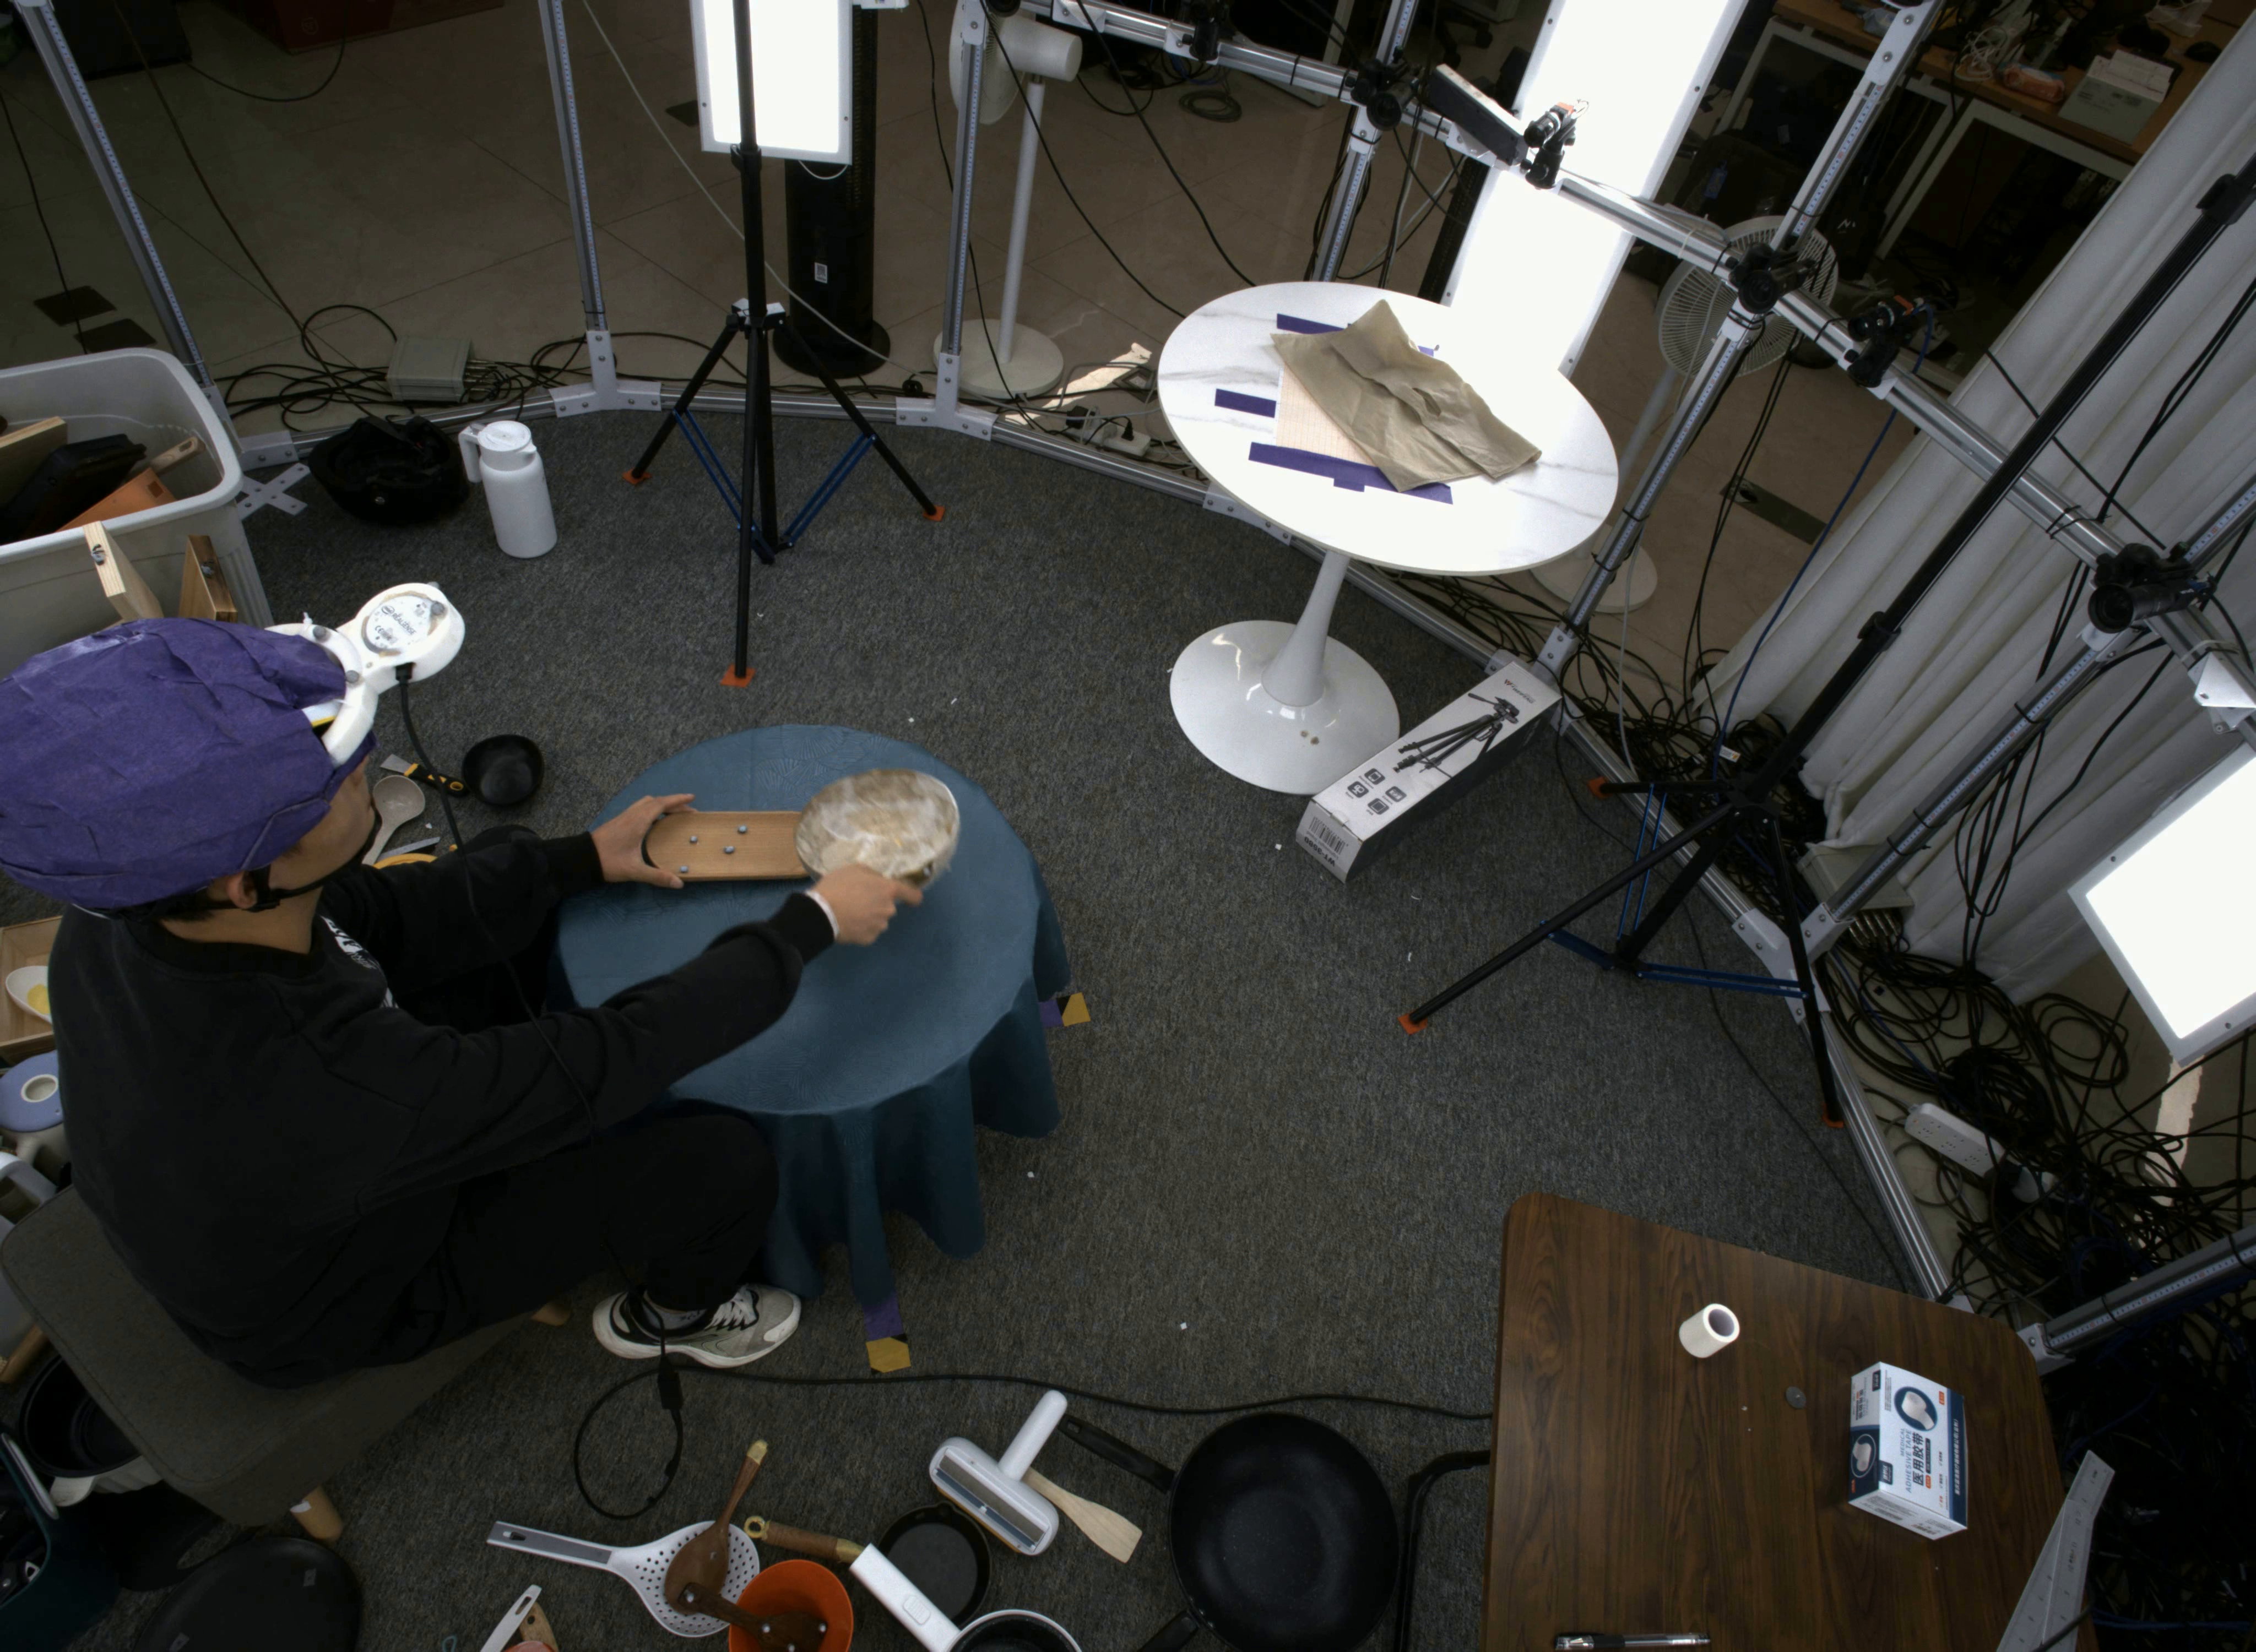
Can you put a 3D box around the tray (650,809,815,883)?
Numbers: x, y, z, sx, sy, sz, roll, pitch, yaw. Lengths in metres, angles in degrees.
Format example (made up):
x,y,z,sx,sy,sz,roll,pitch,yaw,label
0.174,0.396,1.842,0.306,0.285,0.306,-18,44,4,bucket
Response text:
x,y,z,sx,sy,sz,roll,pitch,yaw,label
-0.496,0.024,1.665,0.233,0.020,0.100,-1,60,-26,tray

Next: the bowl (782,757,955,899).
x,y,z,sx,sy,sz,roll,pitch,yaw,label
-0.314,0.018,1.613,0.212,0.098,0.210,-1,46,2,bowl
